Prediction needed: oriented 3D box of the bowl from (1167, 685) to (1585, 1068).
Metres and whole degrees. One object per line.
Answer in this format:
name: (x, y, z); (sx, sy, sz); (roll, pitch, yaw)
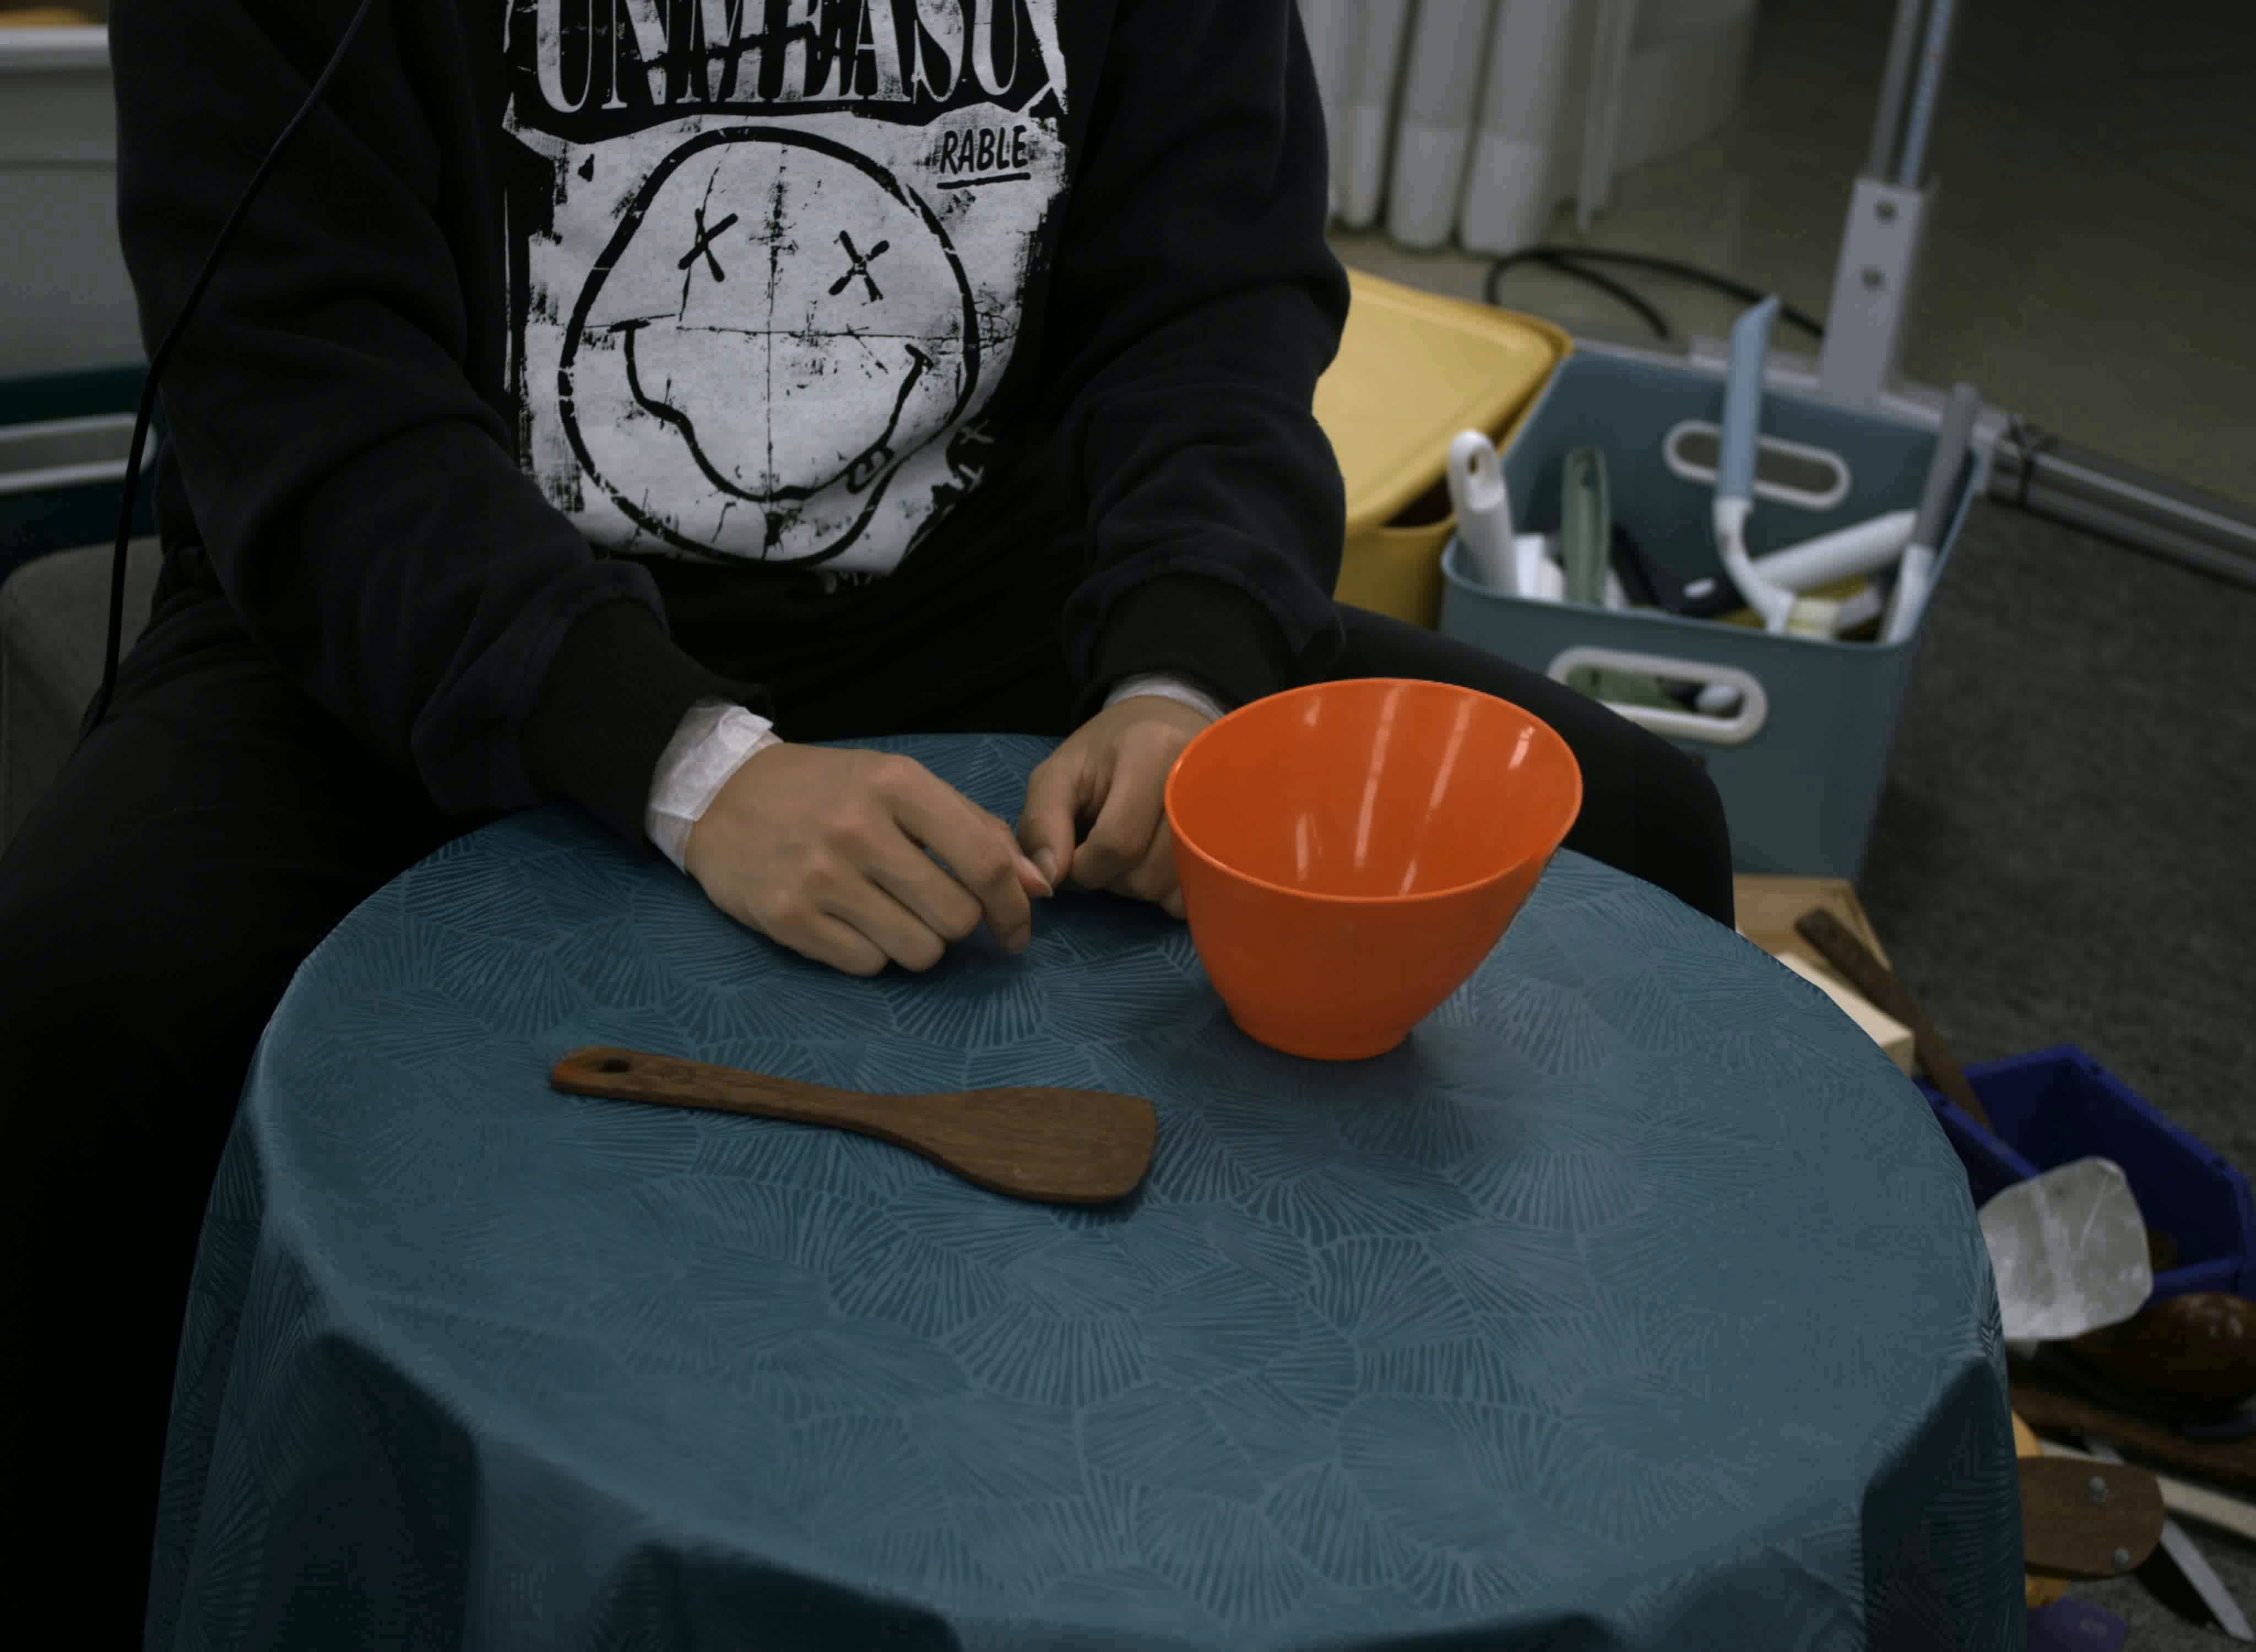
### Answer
bowl: (0.084, 0.024, 1.905); (0.147, 0.104, 0.149); (5, 27, -3)

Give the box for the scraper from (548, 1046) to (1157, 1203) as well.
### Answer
scraper: (-0.095, 0.098, 1.822); (0.211, 0.011, 0.076); (8, 25, 6)
